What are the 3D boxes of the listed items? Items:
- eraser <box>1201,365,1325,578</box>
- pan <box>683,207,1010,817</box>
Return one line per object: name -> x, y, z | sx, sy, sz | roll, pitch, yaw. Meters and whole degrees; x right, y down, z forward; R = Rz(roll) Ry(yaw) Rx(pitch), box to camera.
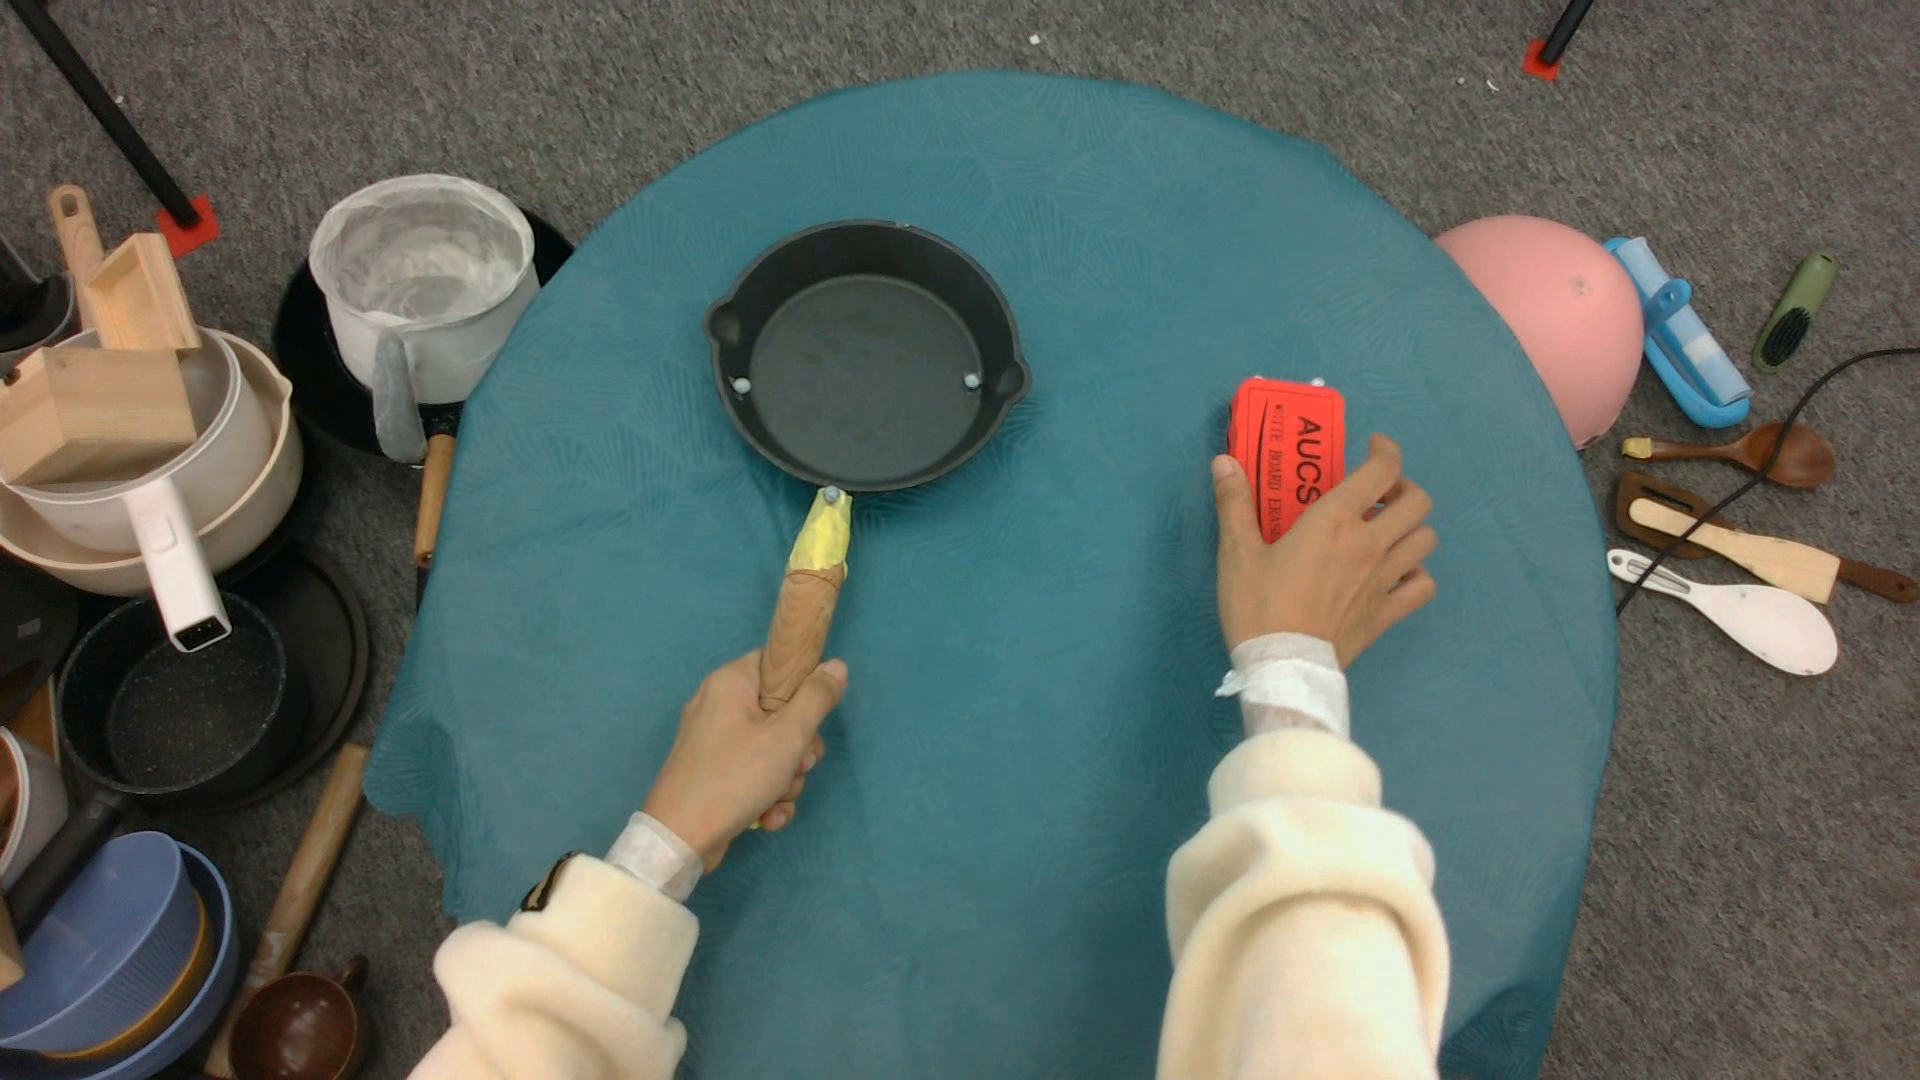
eraser -> 0.158, -0.036, 0.716 | 0.059, 0.023, 0.108 | 9, 68, -4
pan -> -0.074, -0.023, 0.672 | 0.169, 0.049, 0.325 | 13, 67, -1
